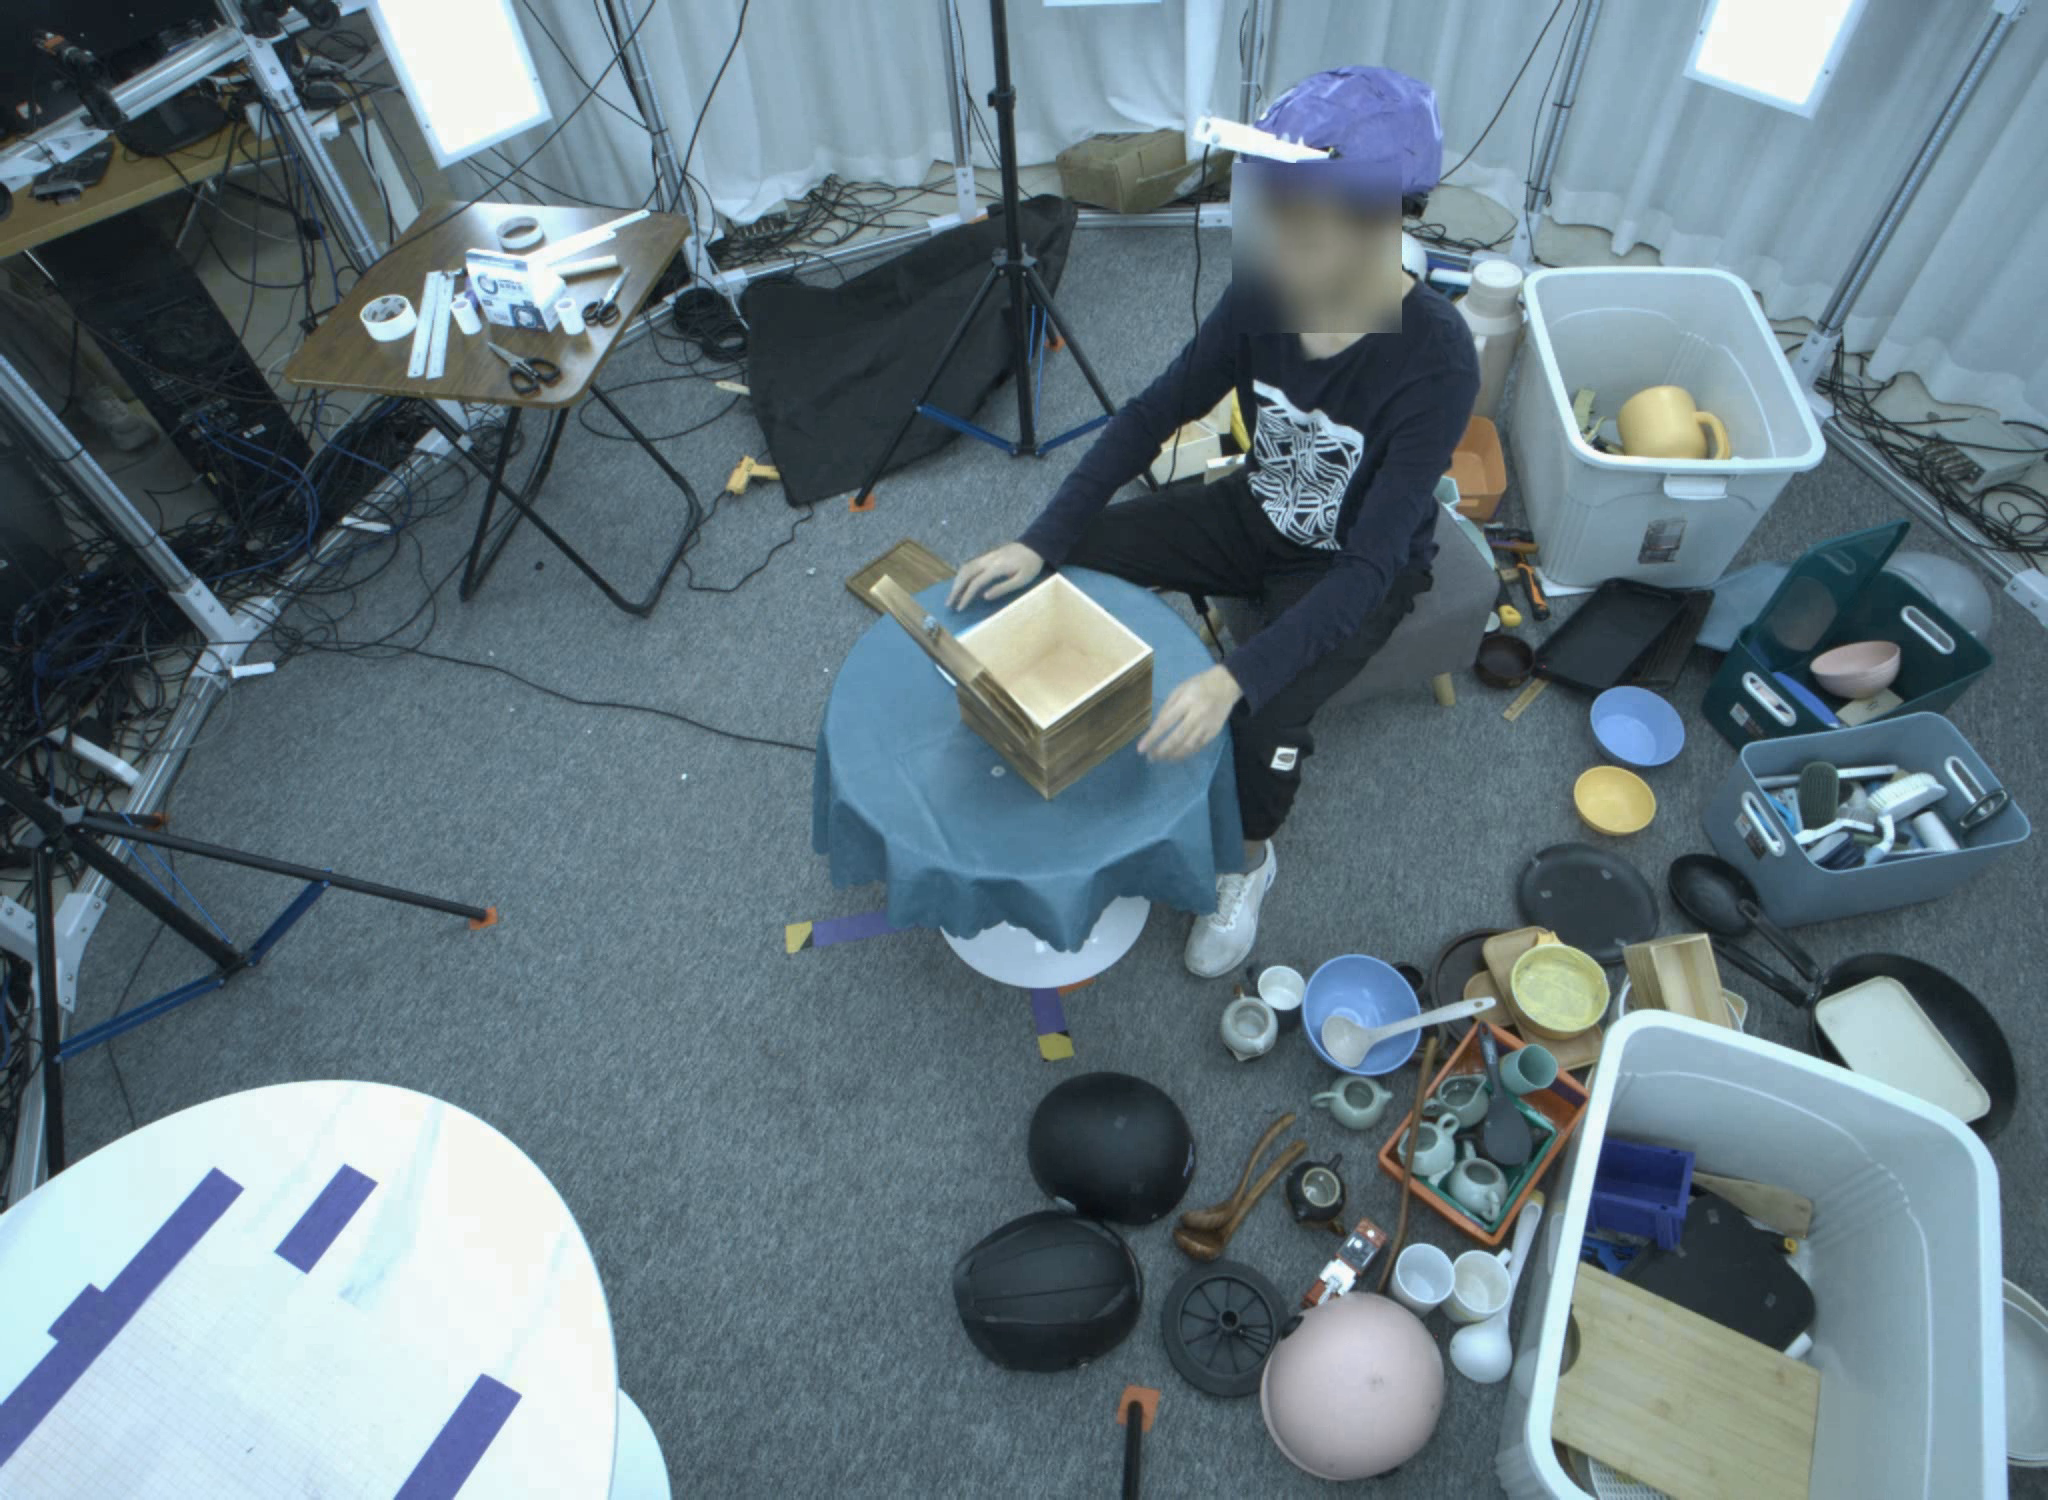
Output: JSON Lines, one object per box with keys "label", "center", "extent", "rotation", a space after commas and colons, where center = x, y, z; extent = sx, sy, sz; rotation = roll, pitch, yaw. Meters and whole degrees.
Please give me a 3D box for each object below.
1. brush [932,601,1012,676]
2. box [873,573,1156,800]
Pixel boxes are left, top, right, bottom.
{"label": "brush", "center": [-0.069, -0.177, 1.861], "extent": [0.145, 0.056, 0.082], "rotation": [-33, 62, -15]}
{"label": "box", "center": [-0.003, -0.119, 1.642], "extent": [0.324, 0.379, 0.205], "rotation": [-36, 60, -21]}
